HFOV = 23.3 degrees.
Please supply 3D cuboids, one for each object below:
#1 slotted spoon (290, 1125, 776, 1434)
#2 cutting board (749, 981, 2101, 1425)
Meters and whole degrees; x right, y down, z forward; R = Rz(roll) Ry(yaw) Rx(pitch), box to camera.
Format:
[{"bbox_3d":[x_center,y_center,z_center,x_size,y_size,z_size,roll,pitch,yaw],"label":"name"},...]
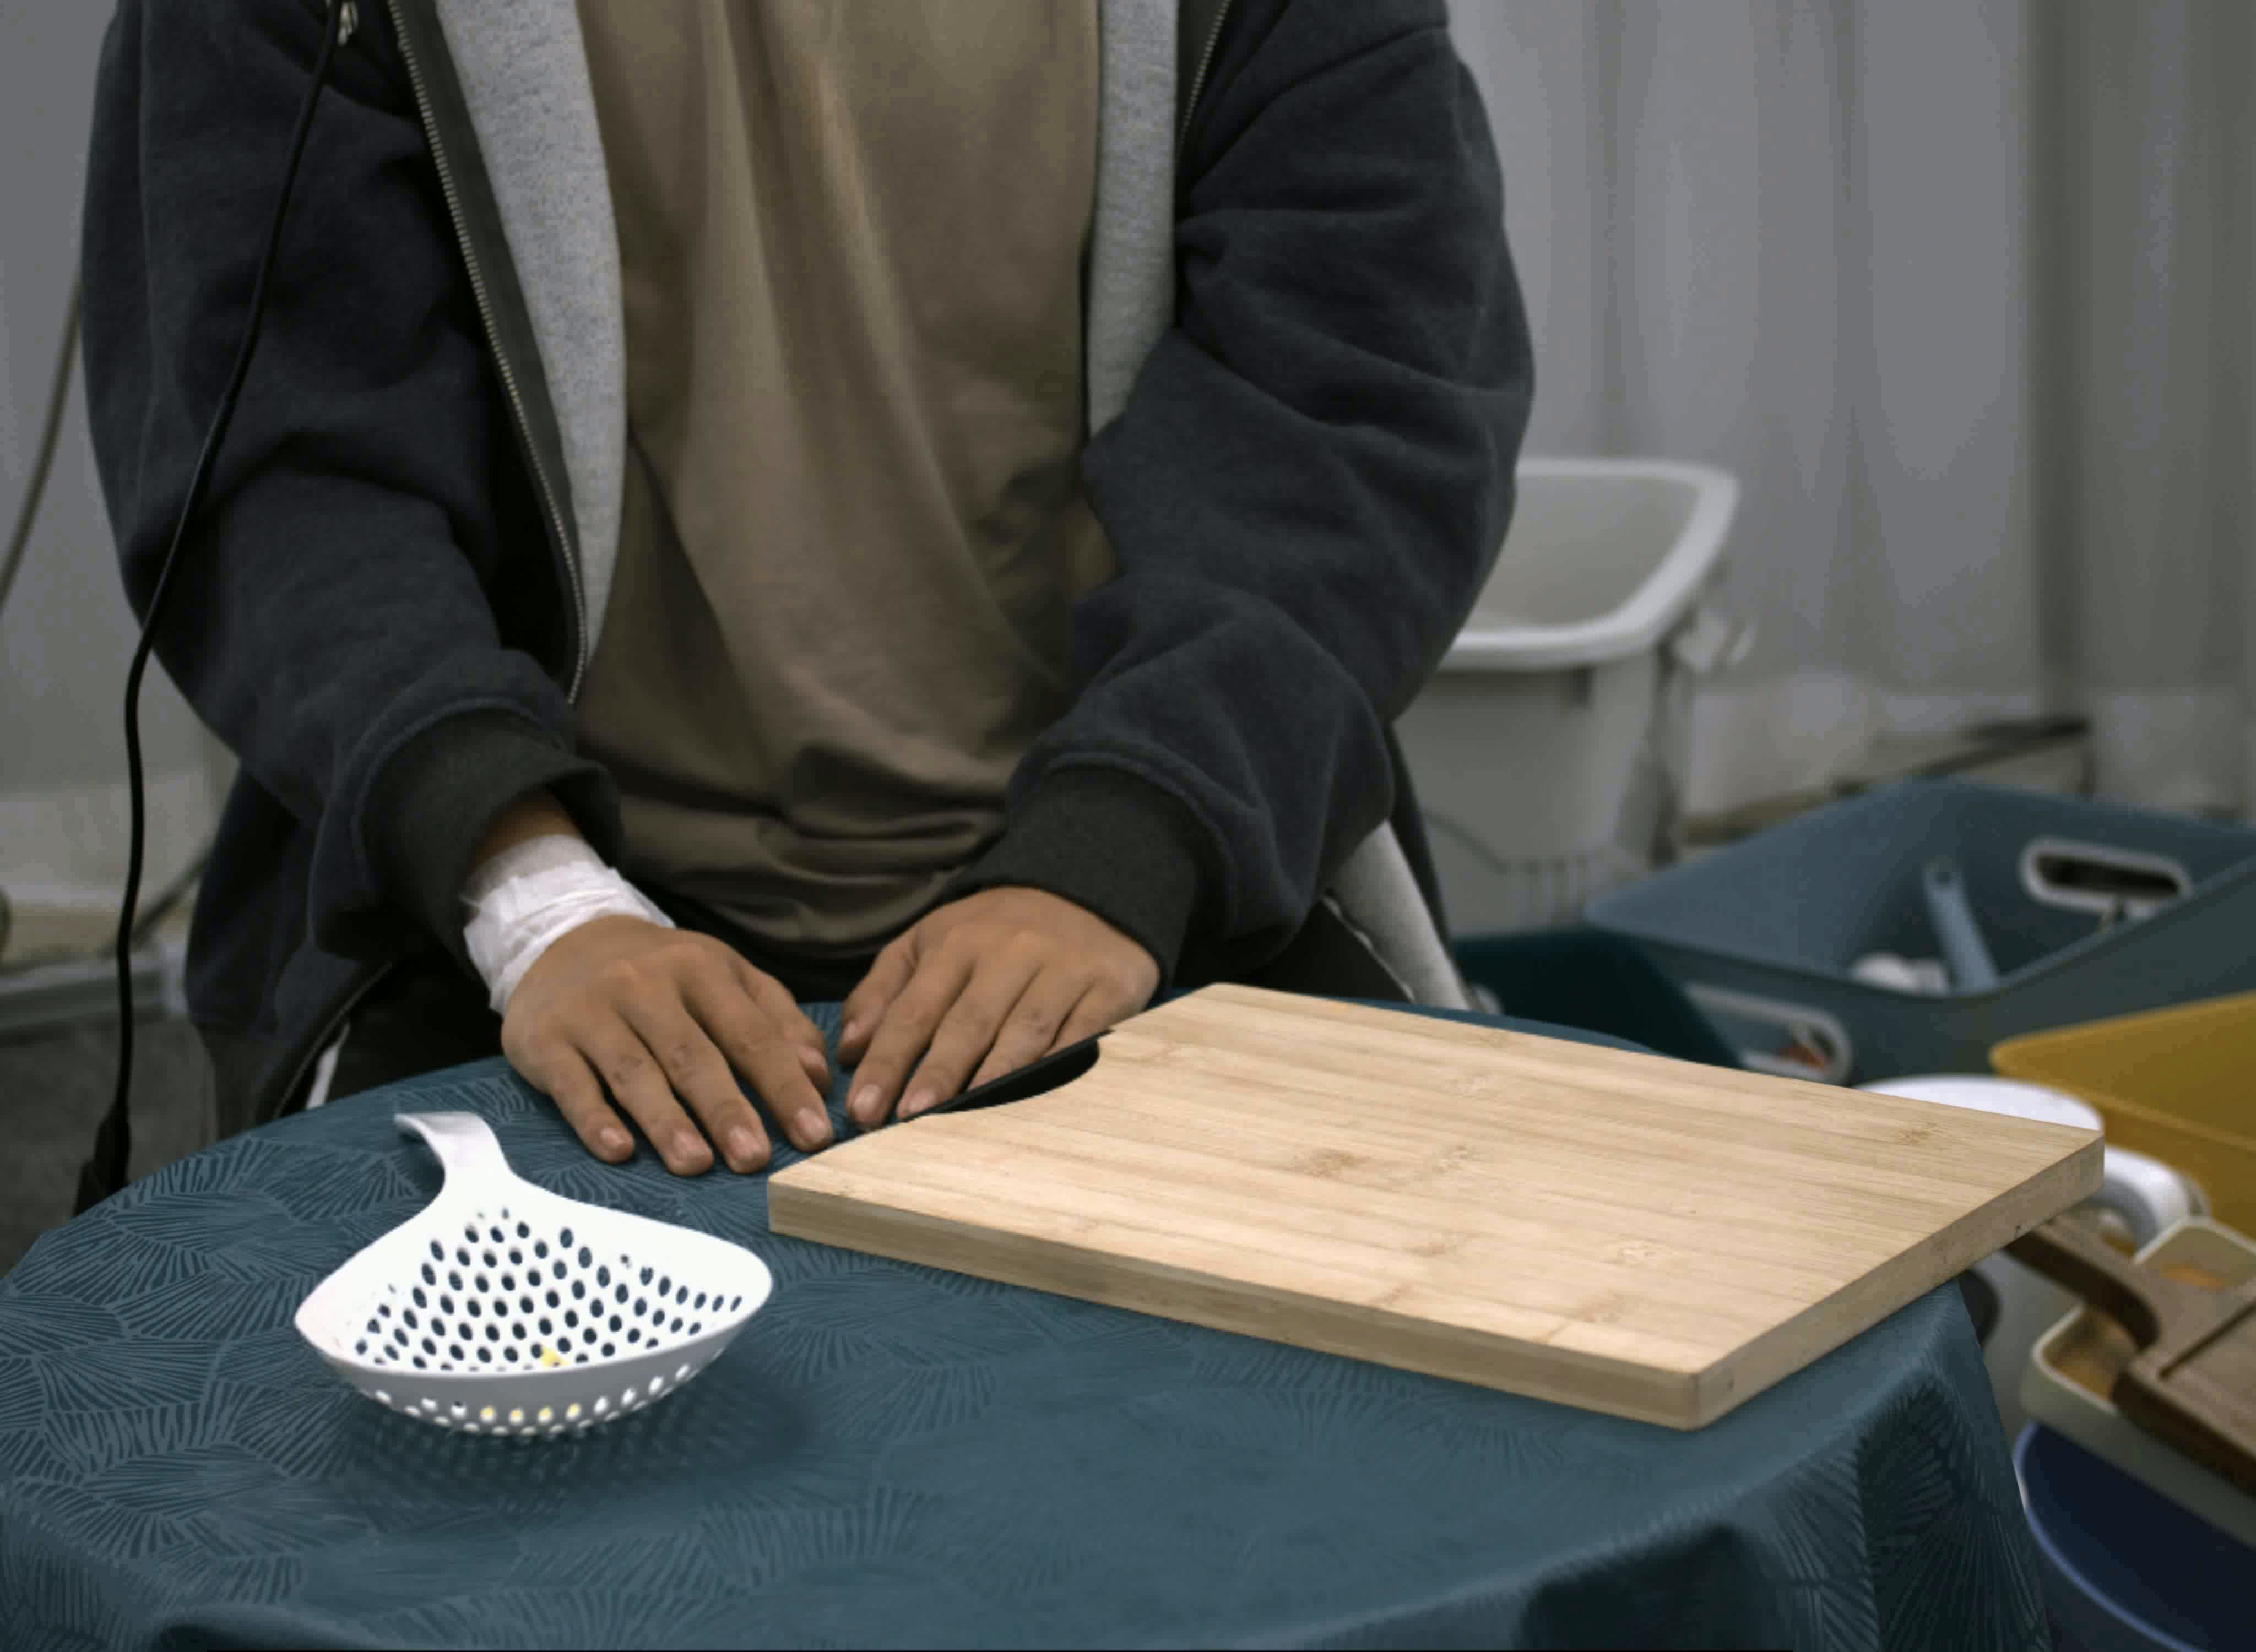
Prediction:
[{"bbox_3d":[-0.194,0.122,1.646,0.136,0.050,0.351,-9,16,-13],"label":"slotted spoon"},{"bbox_3d":[0.090,0.110,1.685,0.350,0.023,0.250,8,18,36],"label":"cutting board"}]
